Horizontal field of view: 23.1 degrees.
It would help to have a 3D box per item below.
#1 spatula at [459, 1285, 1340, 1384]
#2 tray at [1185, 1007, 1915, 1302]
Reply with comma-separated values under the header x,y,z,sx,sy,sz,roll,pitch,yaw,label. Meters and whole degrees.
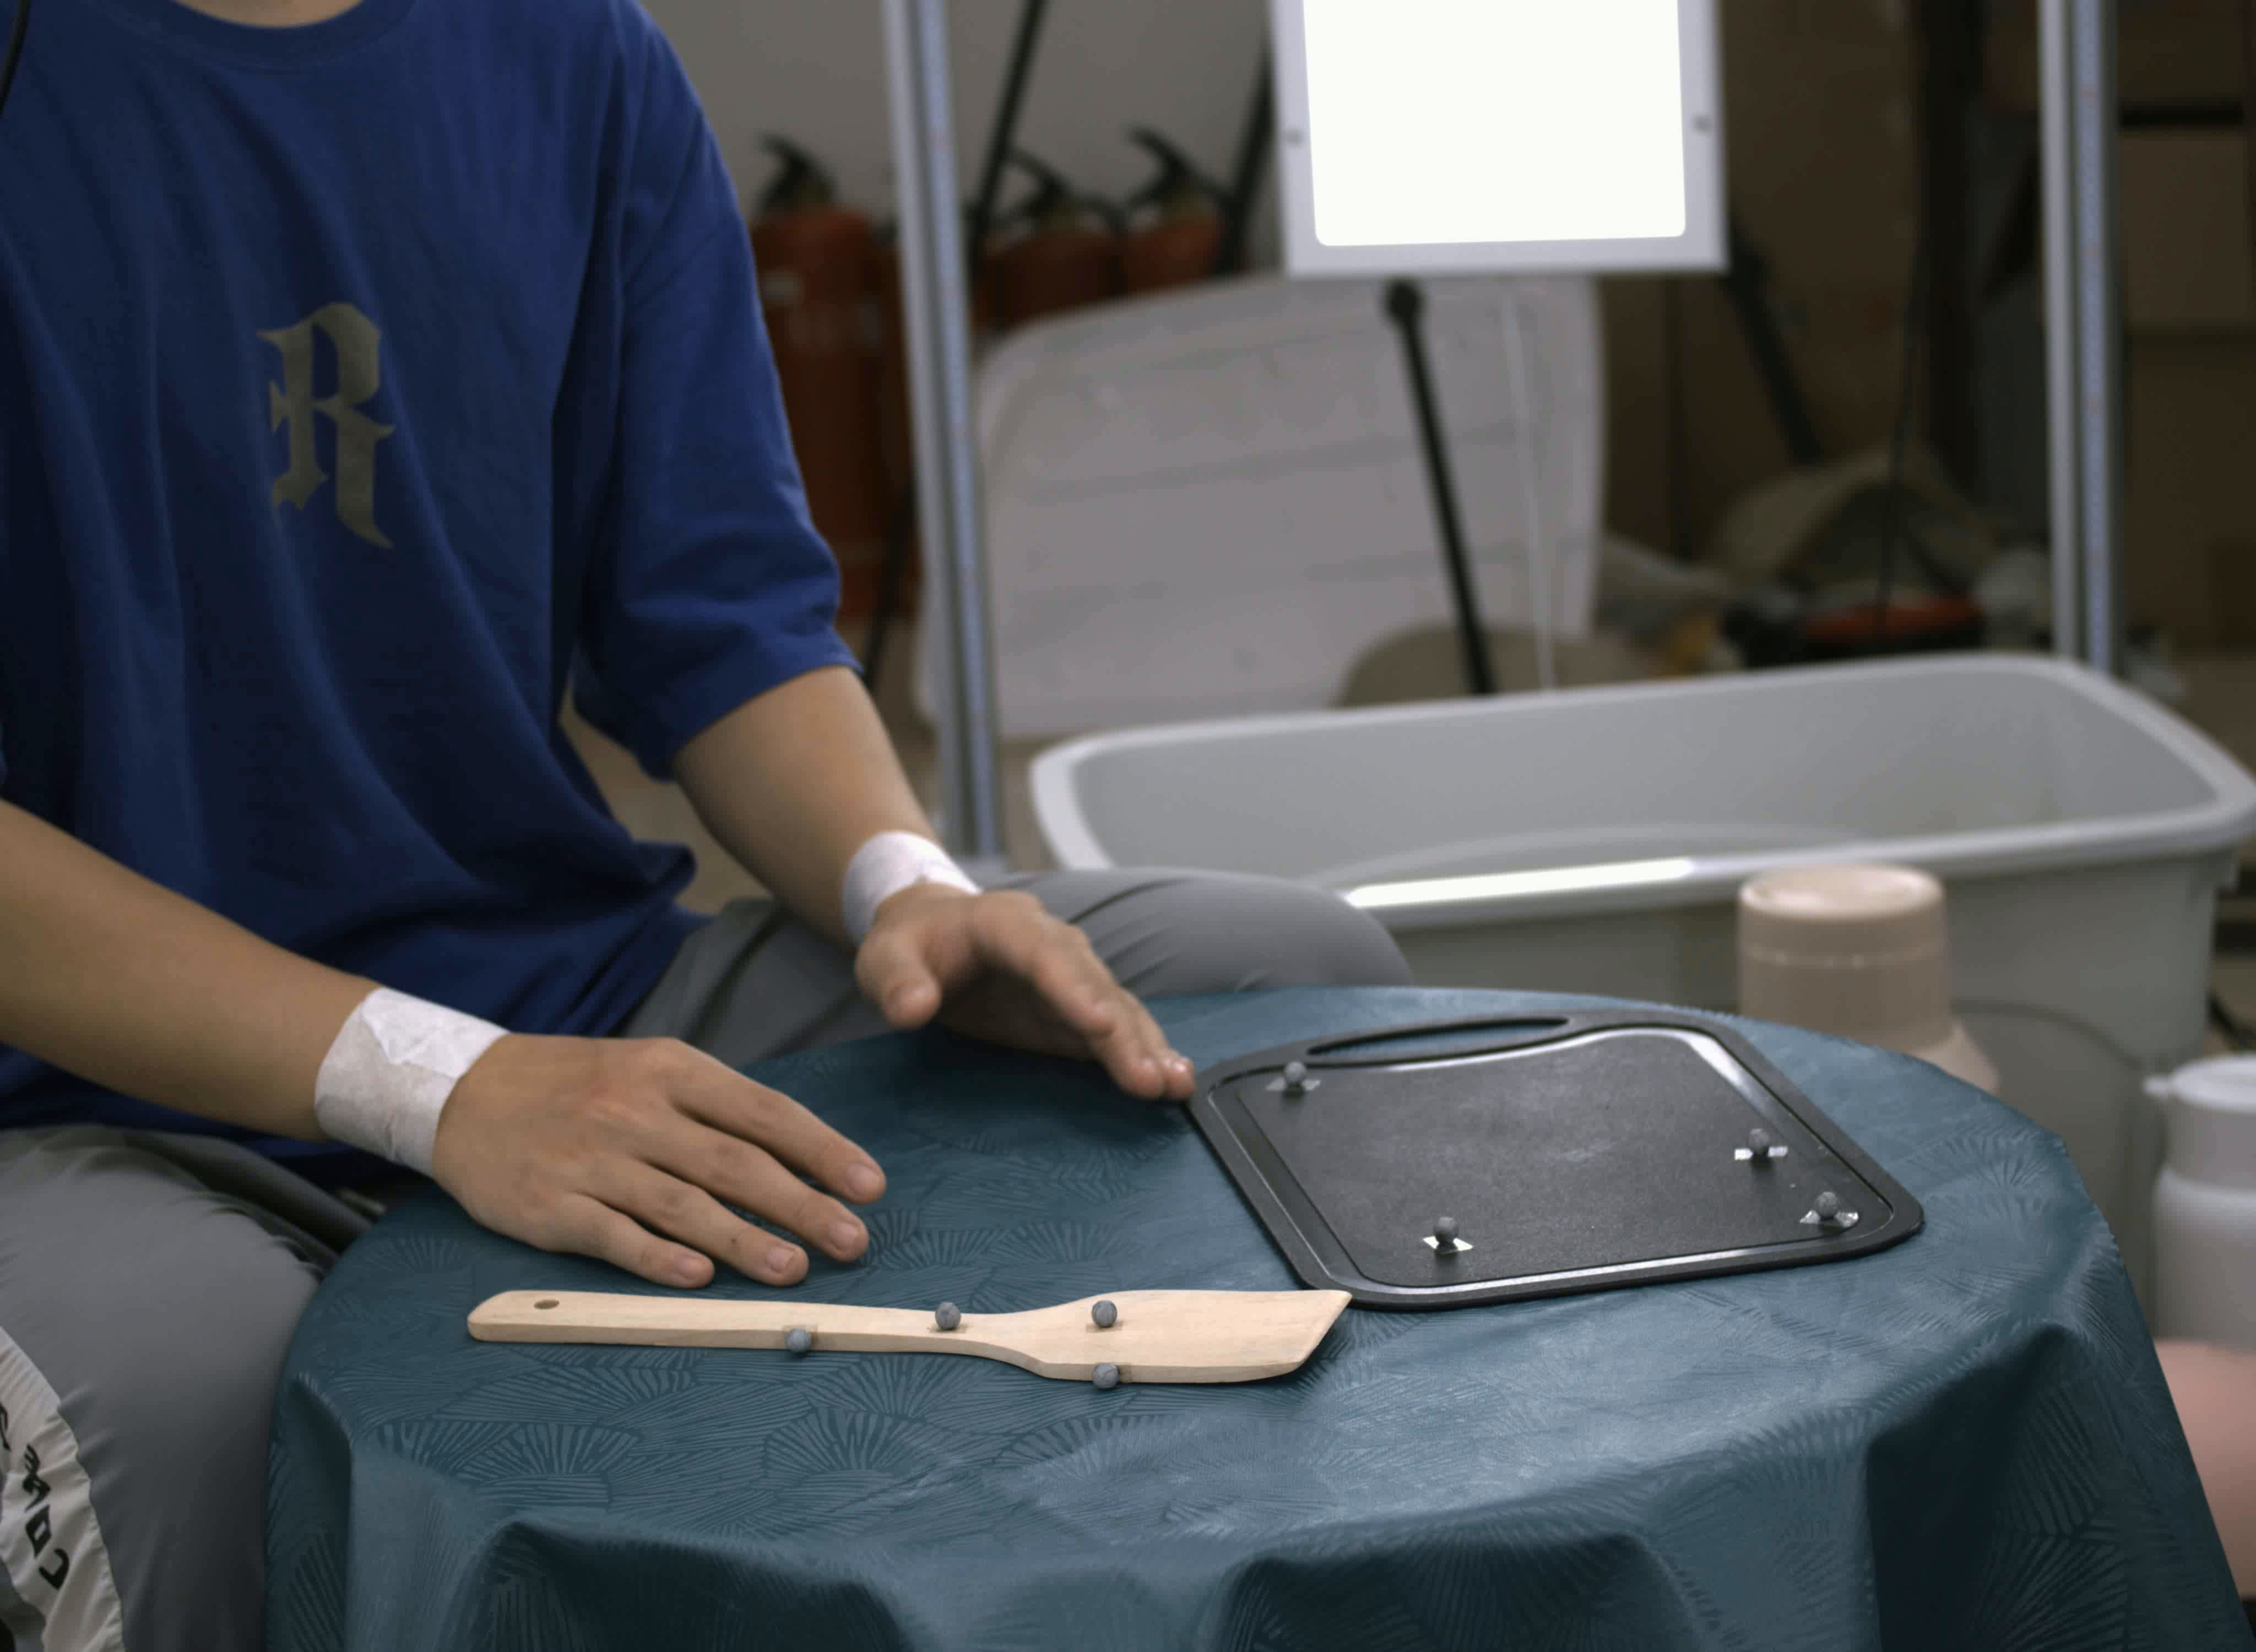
x,y,z,sx,sy,sz,roll,pitch,yaw,label
-0.079,0.160,1.769,0.297,0.011,0.071,0,16,20,spatula
0.138,0.108,1.908,0.209,0.010,0.326,-7,14,-7,tray
